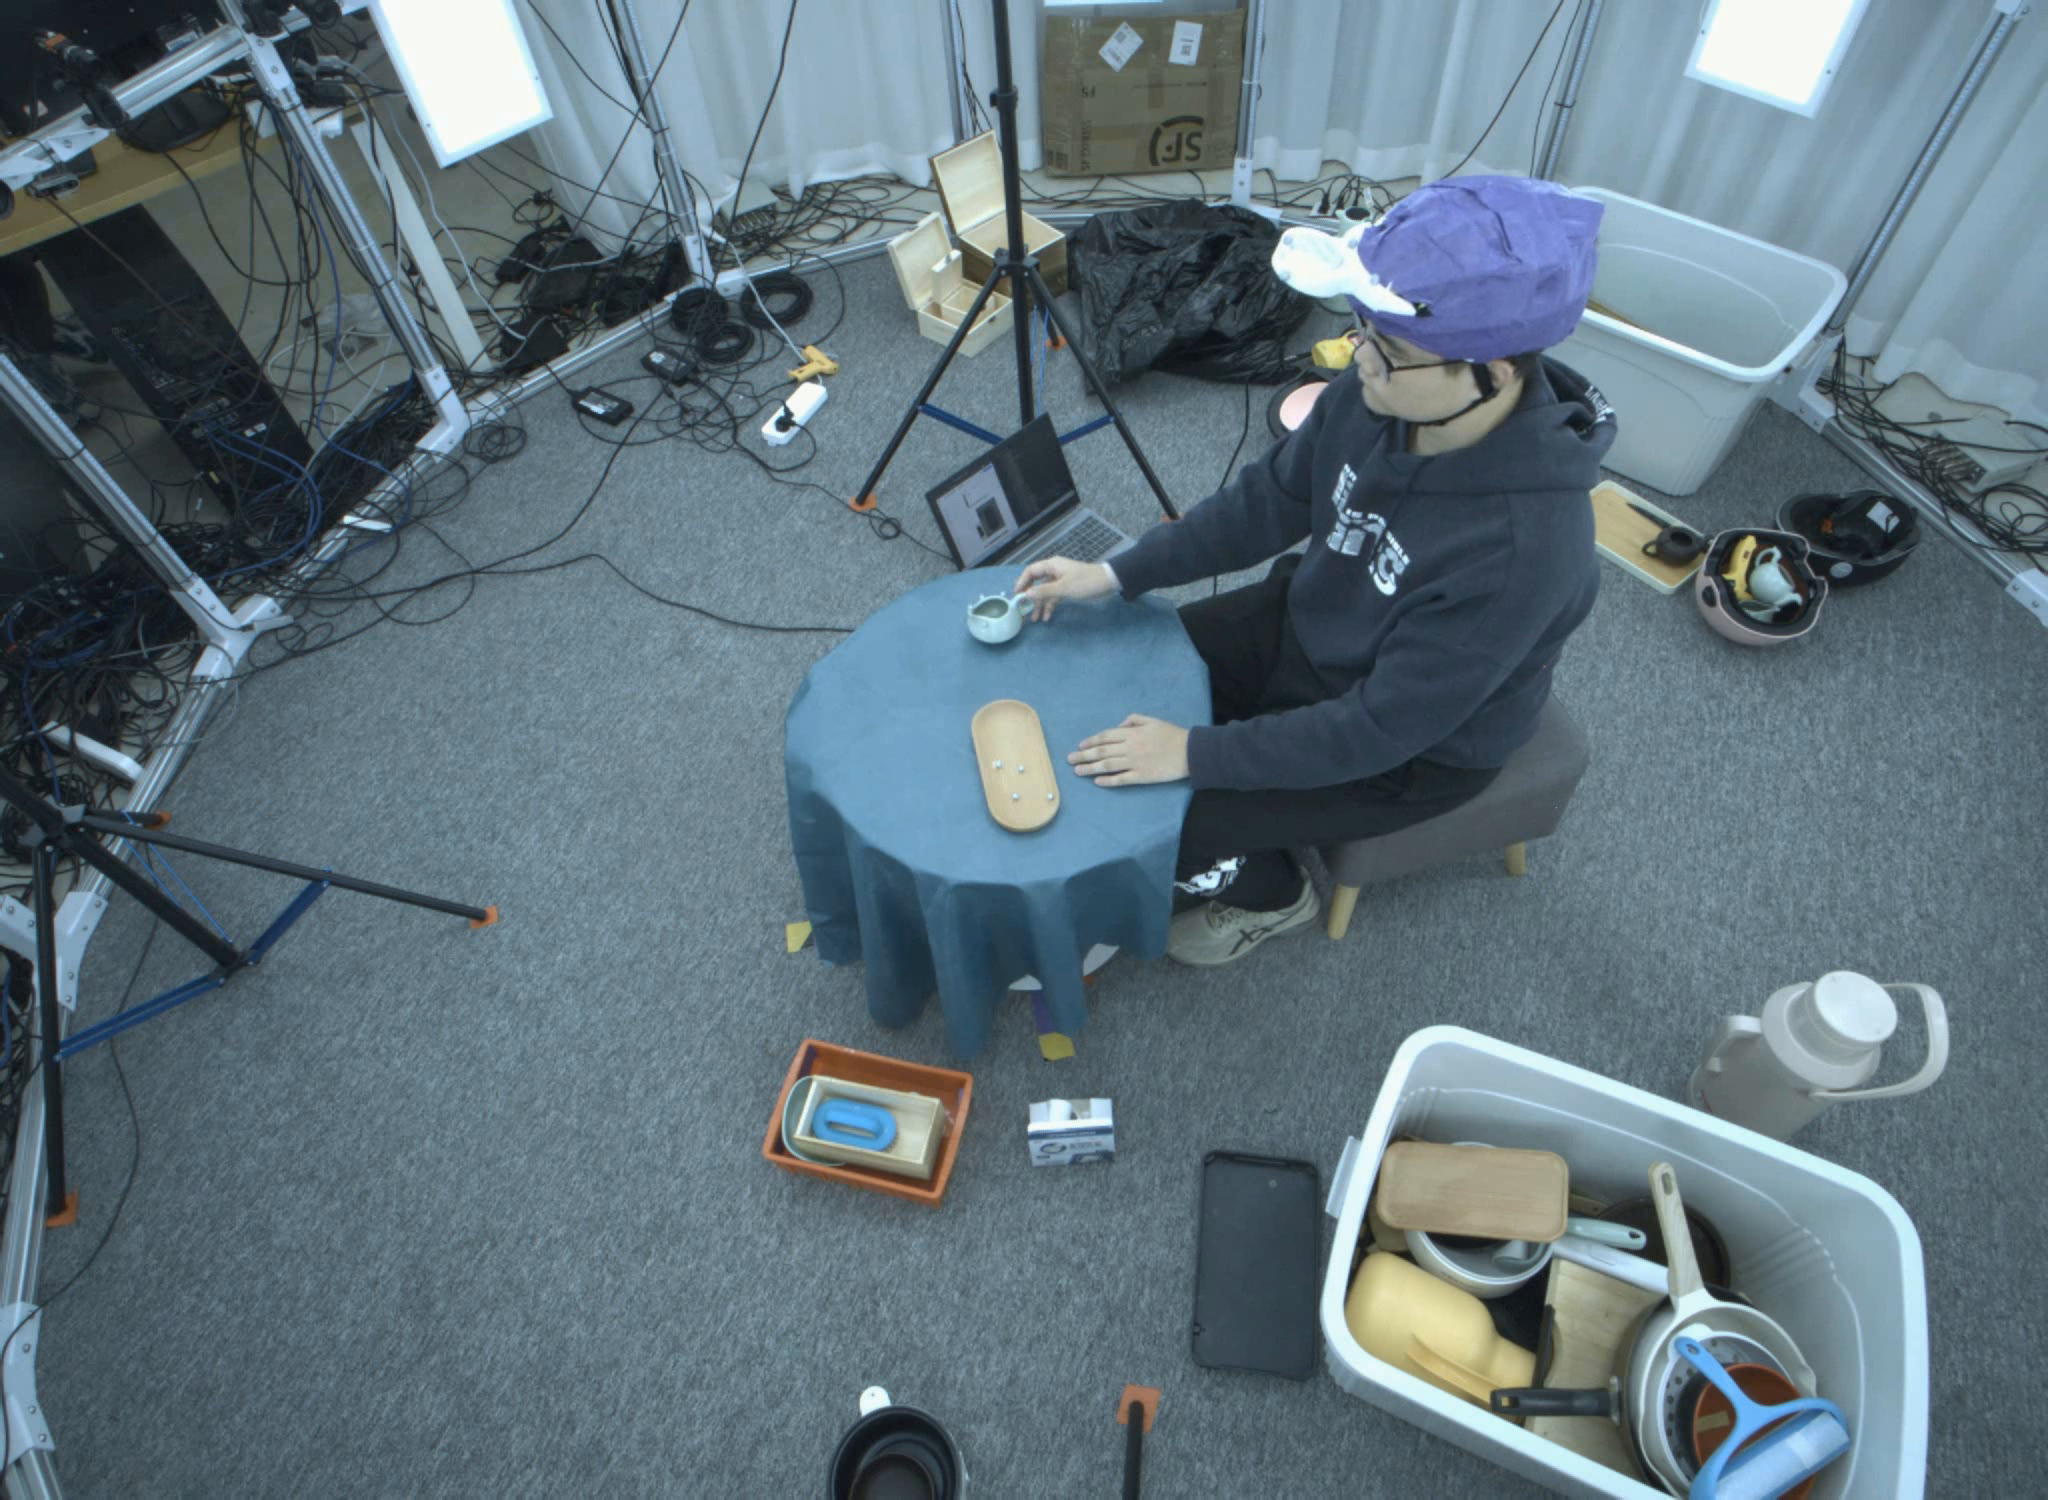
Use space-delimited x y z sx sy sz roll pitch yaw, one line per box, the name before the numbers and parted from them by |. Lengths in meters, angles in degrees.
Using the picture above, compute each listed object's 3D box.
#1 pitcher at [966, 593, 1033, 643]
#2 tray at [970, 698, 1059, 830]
pitcher | -0.038 -0.210 1.902 0.109 0.061 0.084 -19 57 -14
tray | -0.014 0.018 1.766 0.102 0.020 0.227 -10 53 -7
